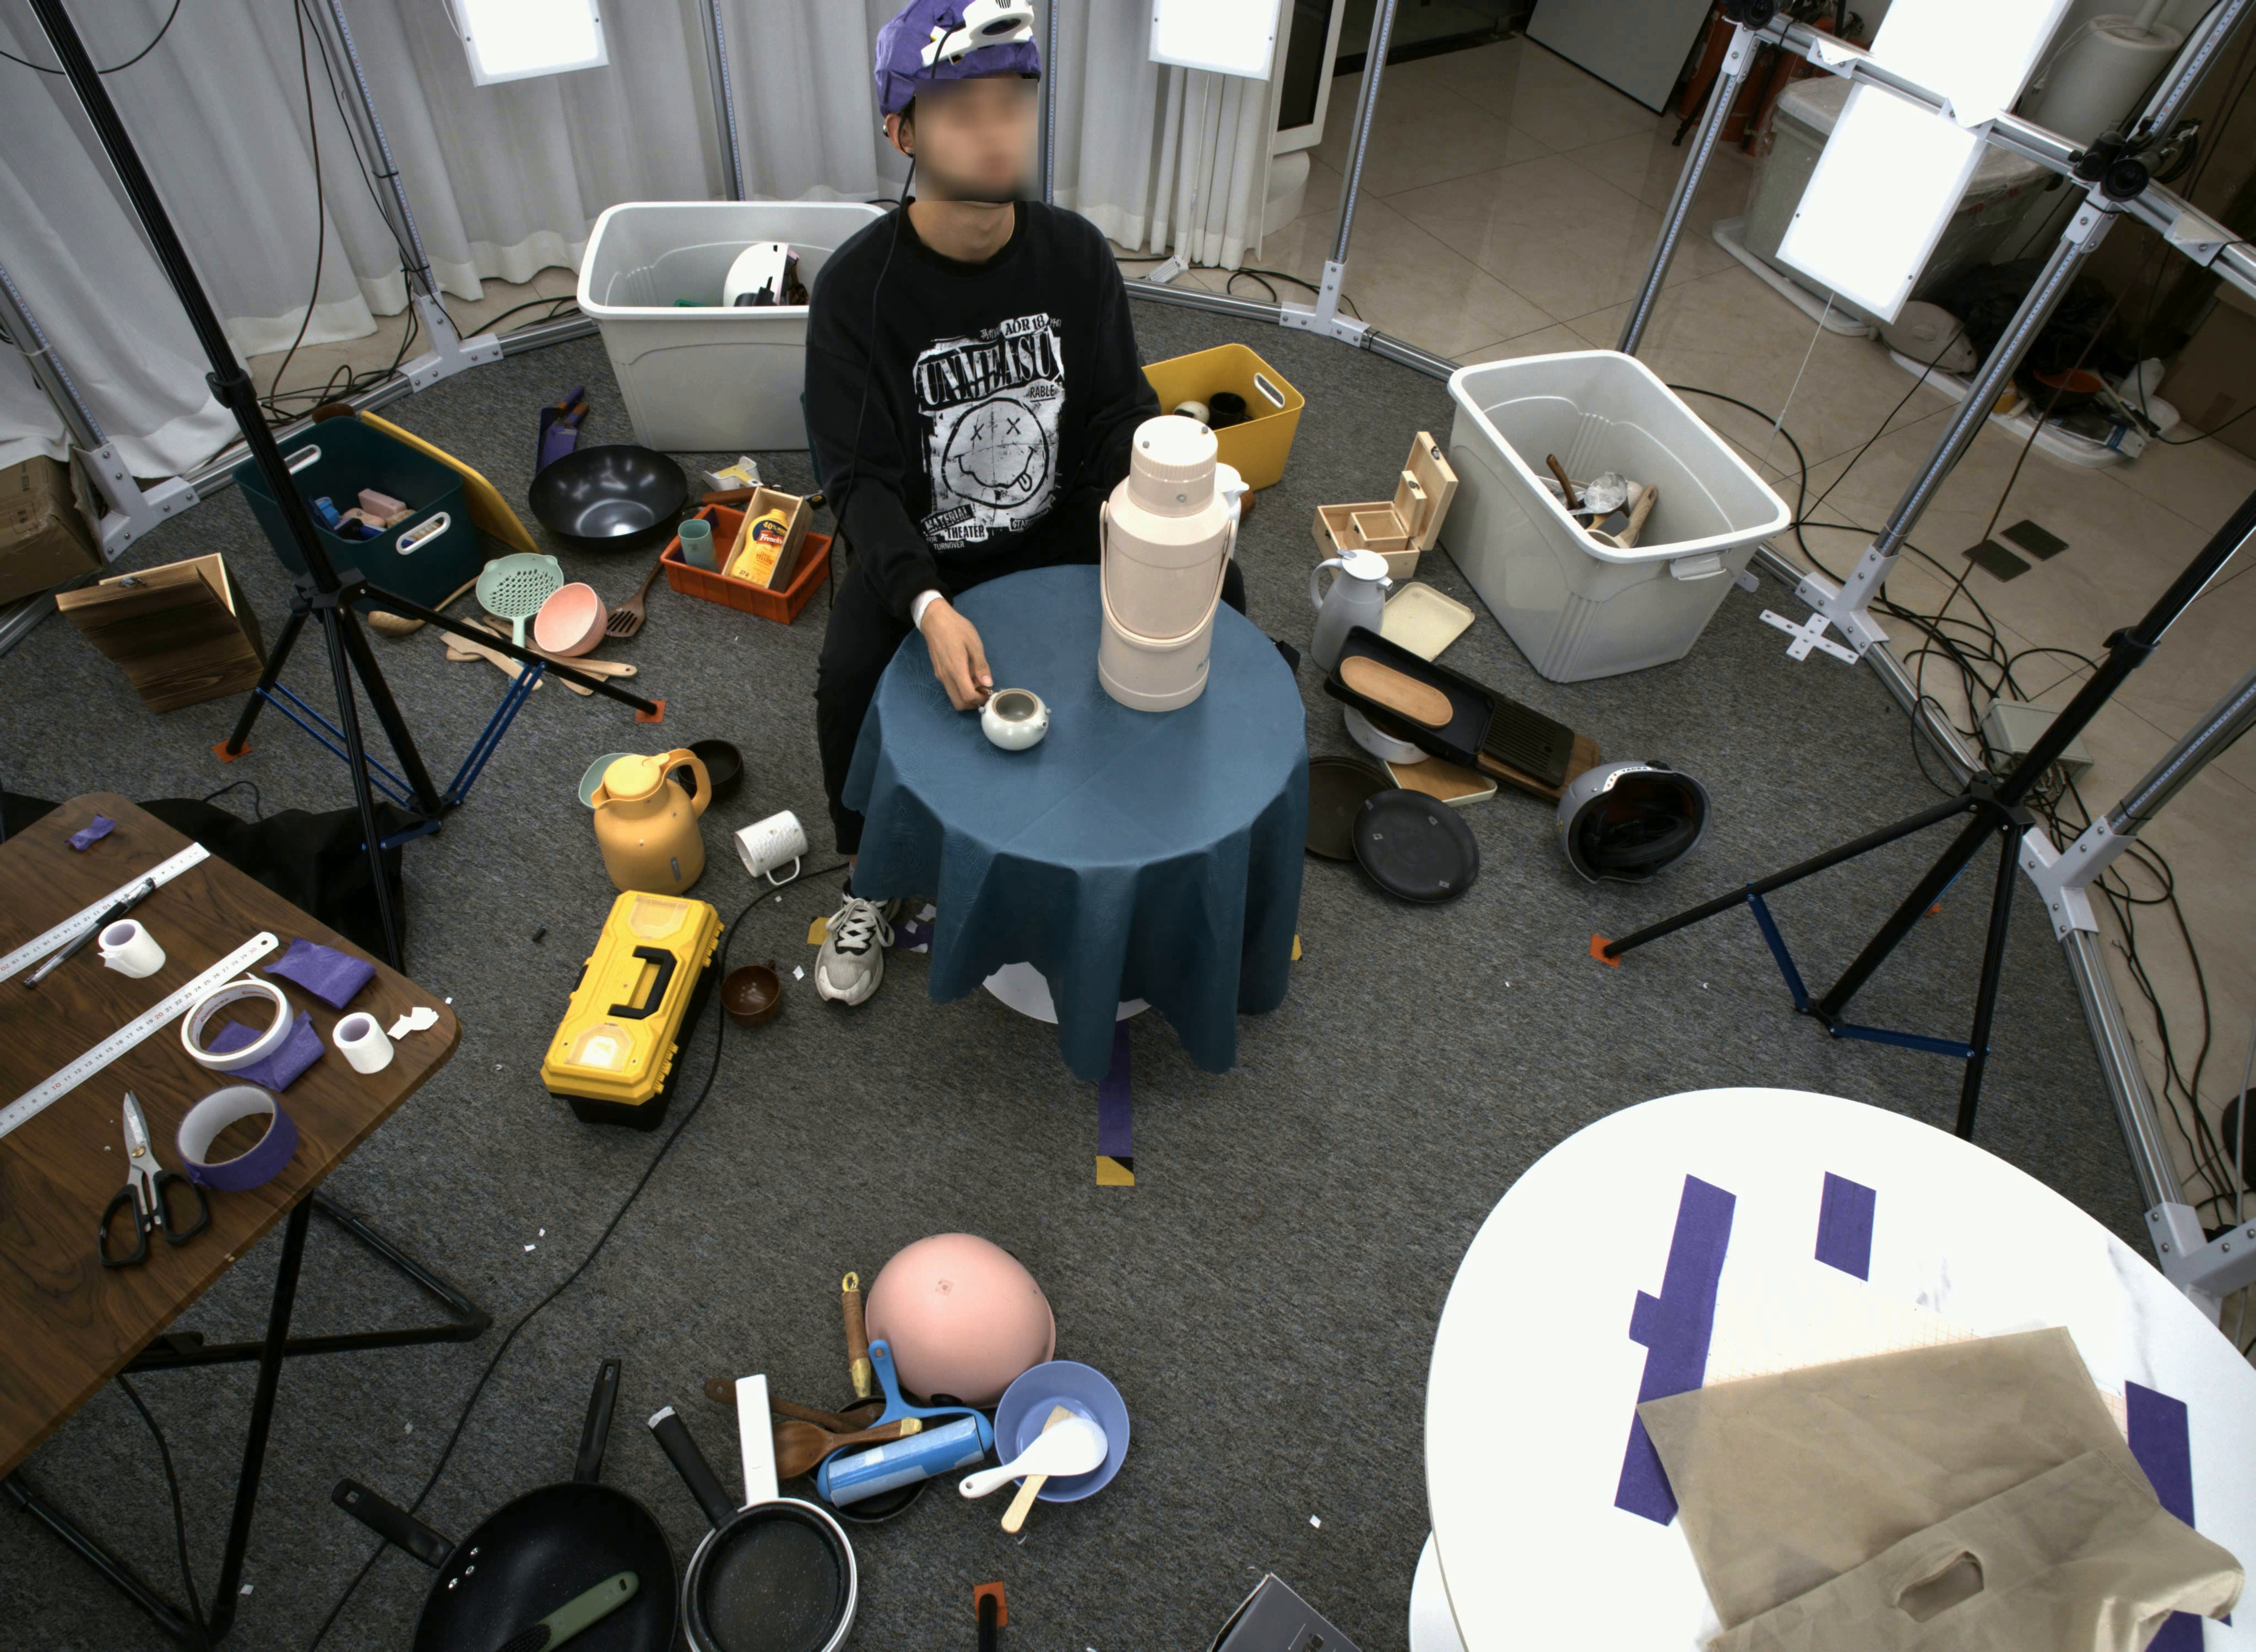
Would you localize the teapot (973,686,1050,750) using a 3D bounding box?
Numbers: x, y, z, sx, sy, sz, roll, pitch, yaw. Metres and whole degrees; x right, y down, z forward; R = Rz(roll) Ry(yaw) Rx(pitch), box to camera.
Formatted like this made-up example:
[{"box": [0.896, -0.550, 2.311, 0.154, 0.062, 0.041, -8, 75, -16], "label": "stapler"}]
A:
[{"box": [-0.161, -0.150, 1.752, 0.129, 0.058, 0.093, 31, 57, 19], "label": "teapot"}]

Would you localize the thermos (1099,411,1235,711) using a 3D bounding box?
[{"box": [0.051, -0.358, 1.727, 0.175, 0.396, 0.212, 7, 50, 4], "label": "thermos"}]
